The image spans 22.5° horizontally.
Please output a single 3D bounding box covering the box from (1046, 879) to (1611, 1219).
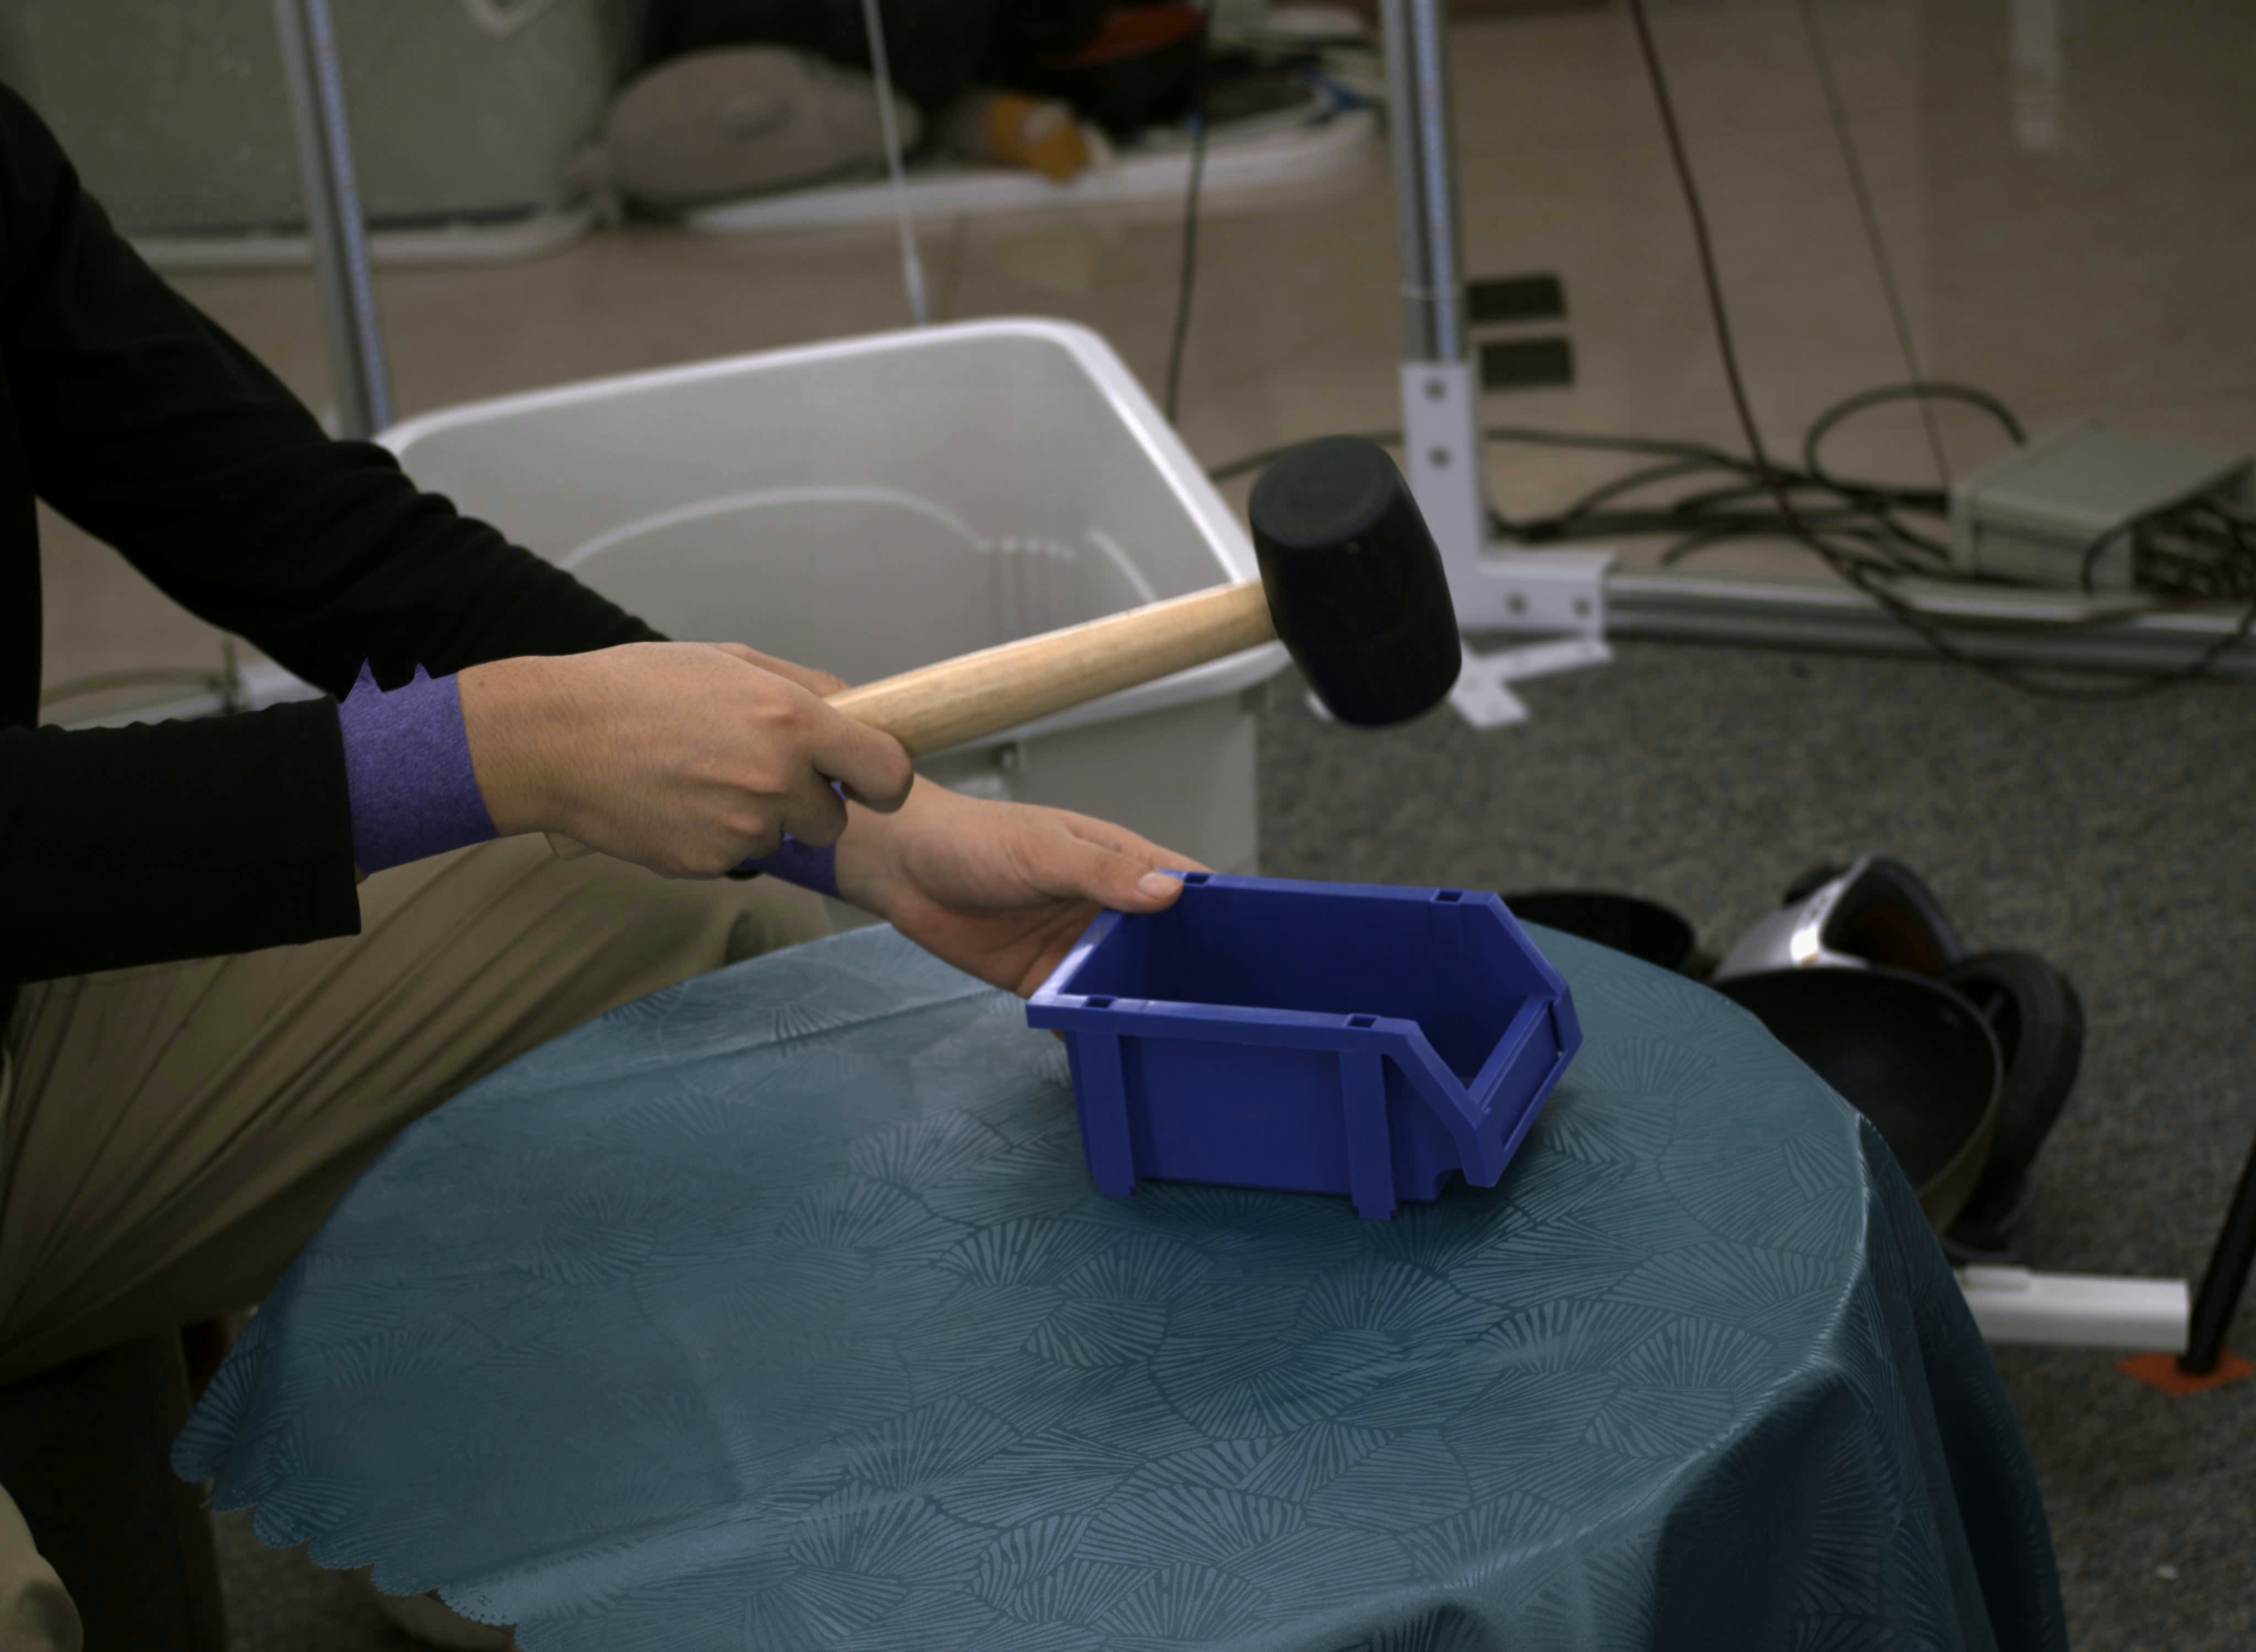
[{"bbox_3d":[0.079,0.082,2.155,0.179,0.083,0.123,1,26,24],"label":"box"}]

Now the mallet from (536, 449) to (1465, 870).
[{"bbox_3d":[-0.050,-0.050,2.046,0.339,0.104,0.063,-14,41,9],"label":"mallet"}]
